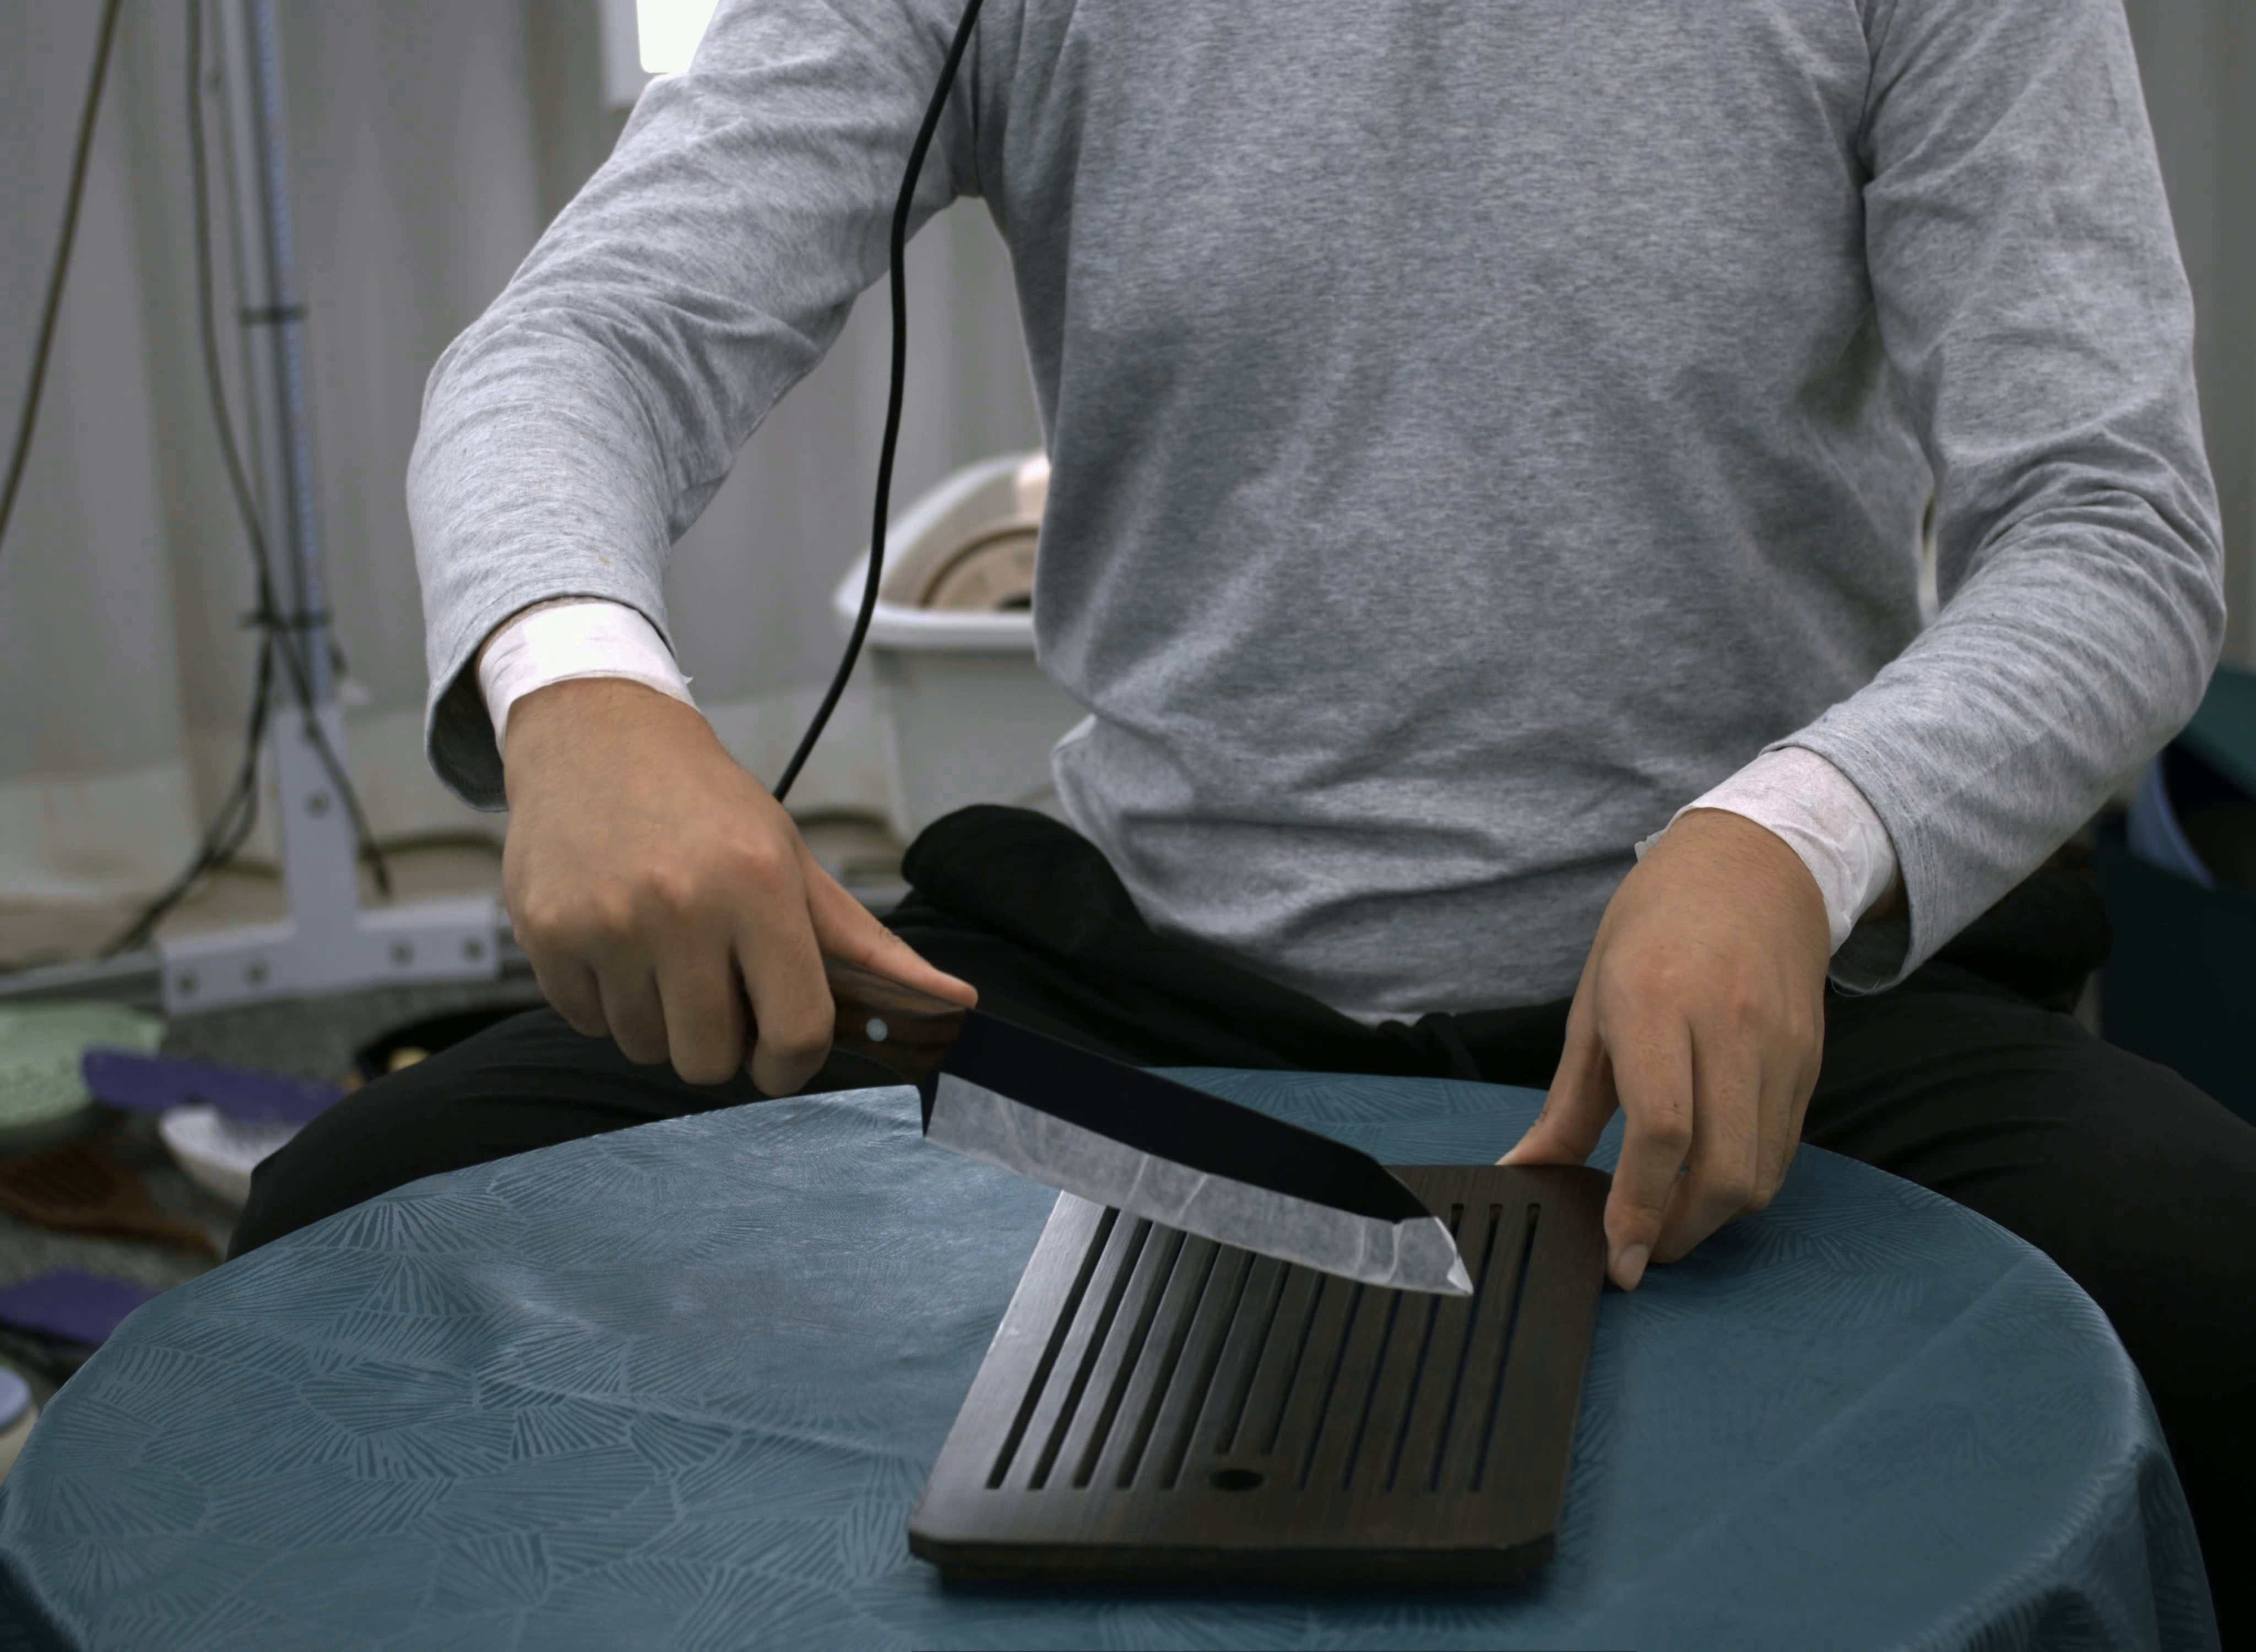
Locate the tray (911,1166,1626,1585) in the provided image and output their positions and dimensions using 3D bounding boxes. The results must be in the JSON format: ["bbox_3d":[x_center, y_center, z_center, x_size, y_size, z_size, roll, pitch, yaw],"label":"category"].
[{"bbox_3d":[0.048,0.151,1.537,0.170,0.018,0.307,0,15,9],"label":"tray"}]

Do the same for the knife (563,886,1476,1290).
[{"bbox_3d":[-0.033,0.074,1.553,0.290,0.050,0.020,21,23,16],"label":"knife"}]
